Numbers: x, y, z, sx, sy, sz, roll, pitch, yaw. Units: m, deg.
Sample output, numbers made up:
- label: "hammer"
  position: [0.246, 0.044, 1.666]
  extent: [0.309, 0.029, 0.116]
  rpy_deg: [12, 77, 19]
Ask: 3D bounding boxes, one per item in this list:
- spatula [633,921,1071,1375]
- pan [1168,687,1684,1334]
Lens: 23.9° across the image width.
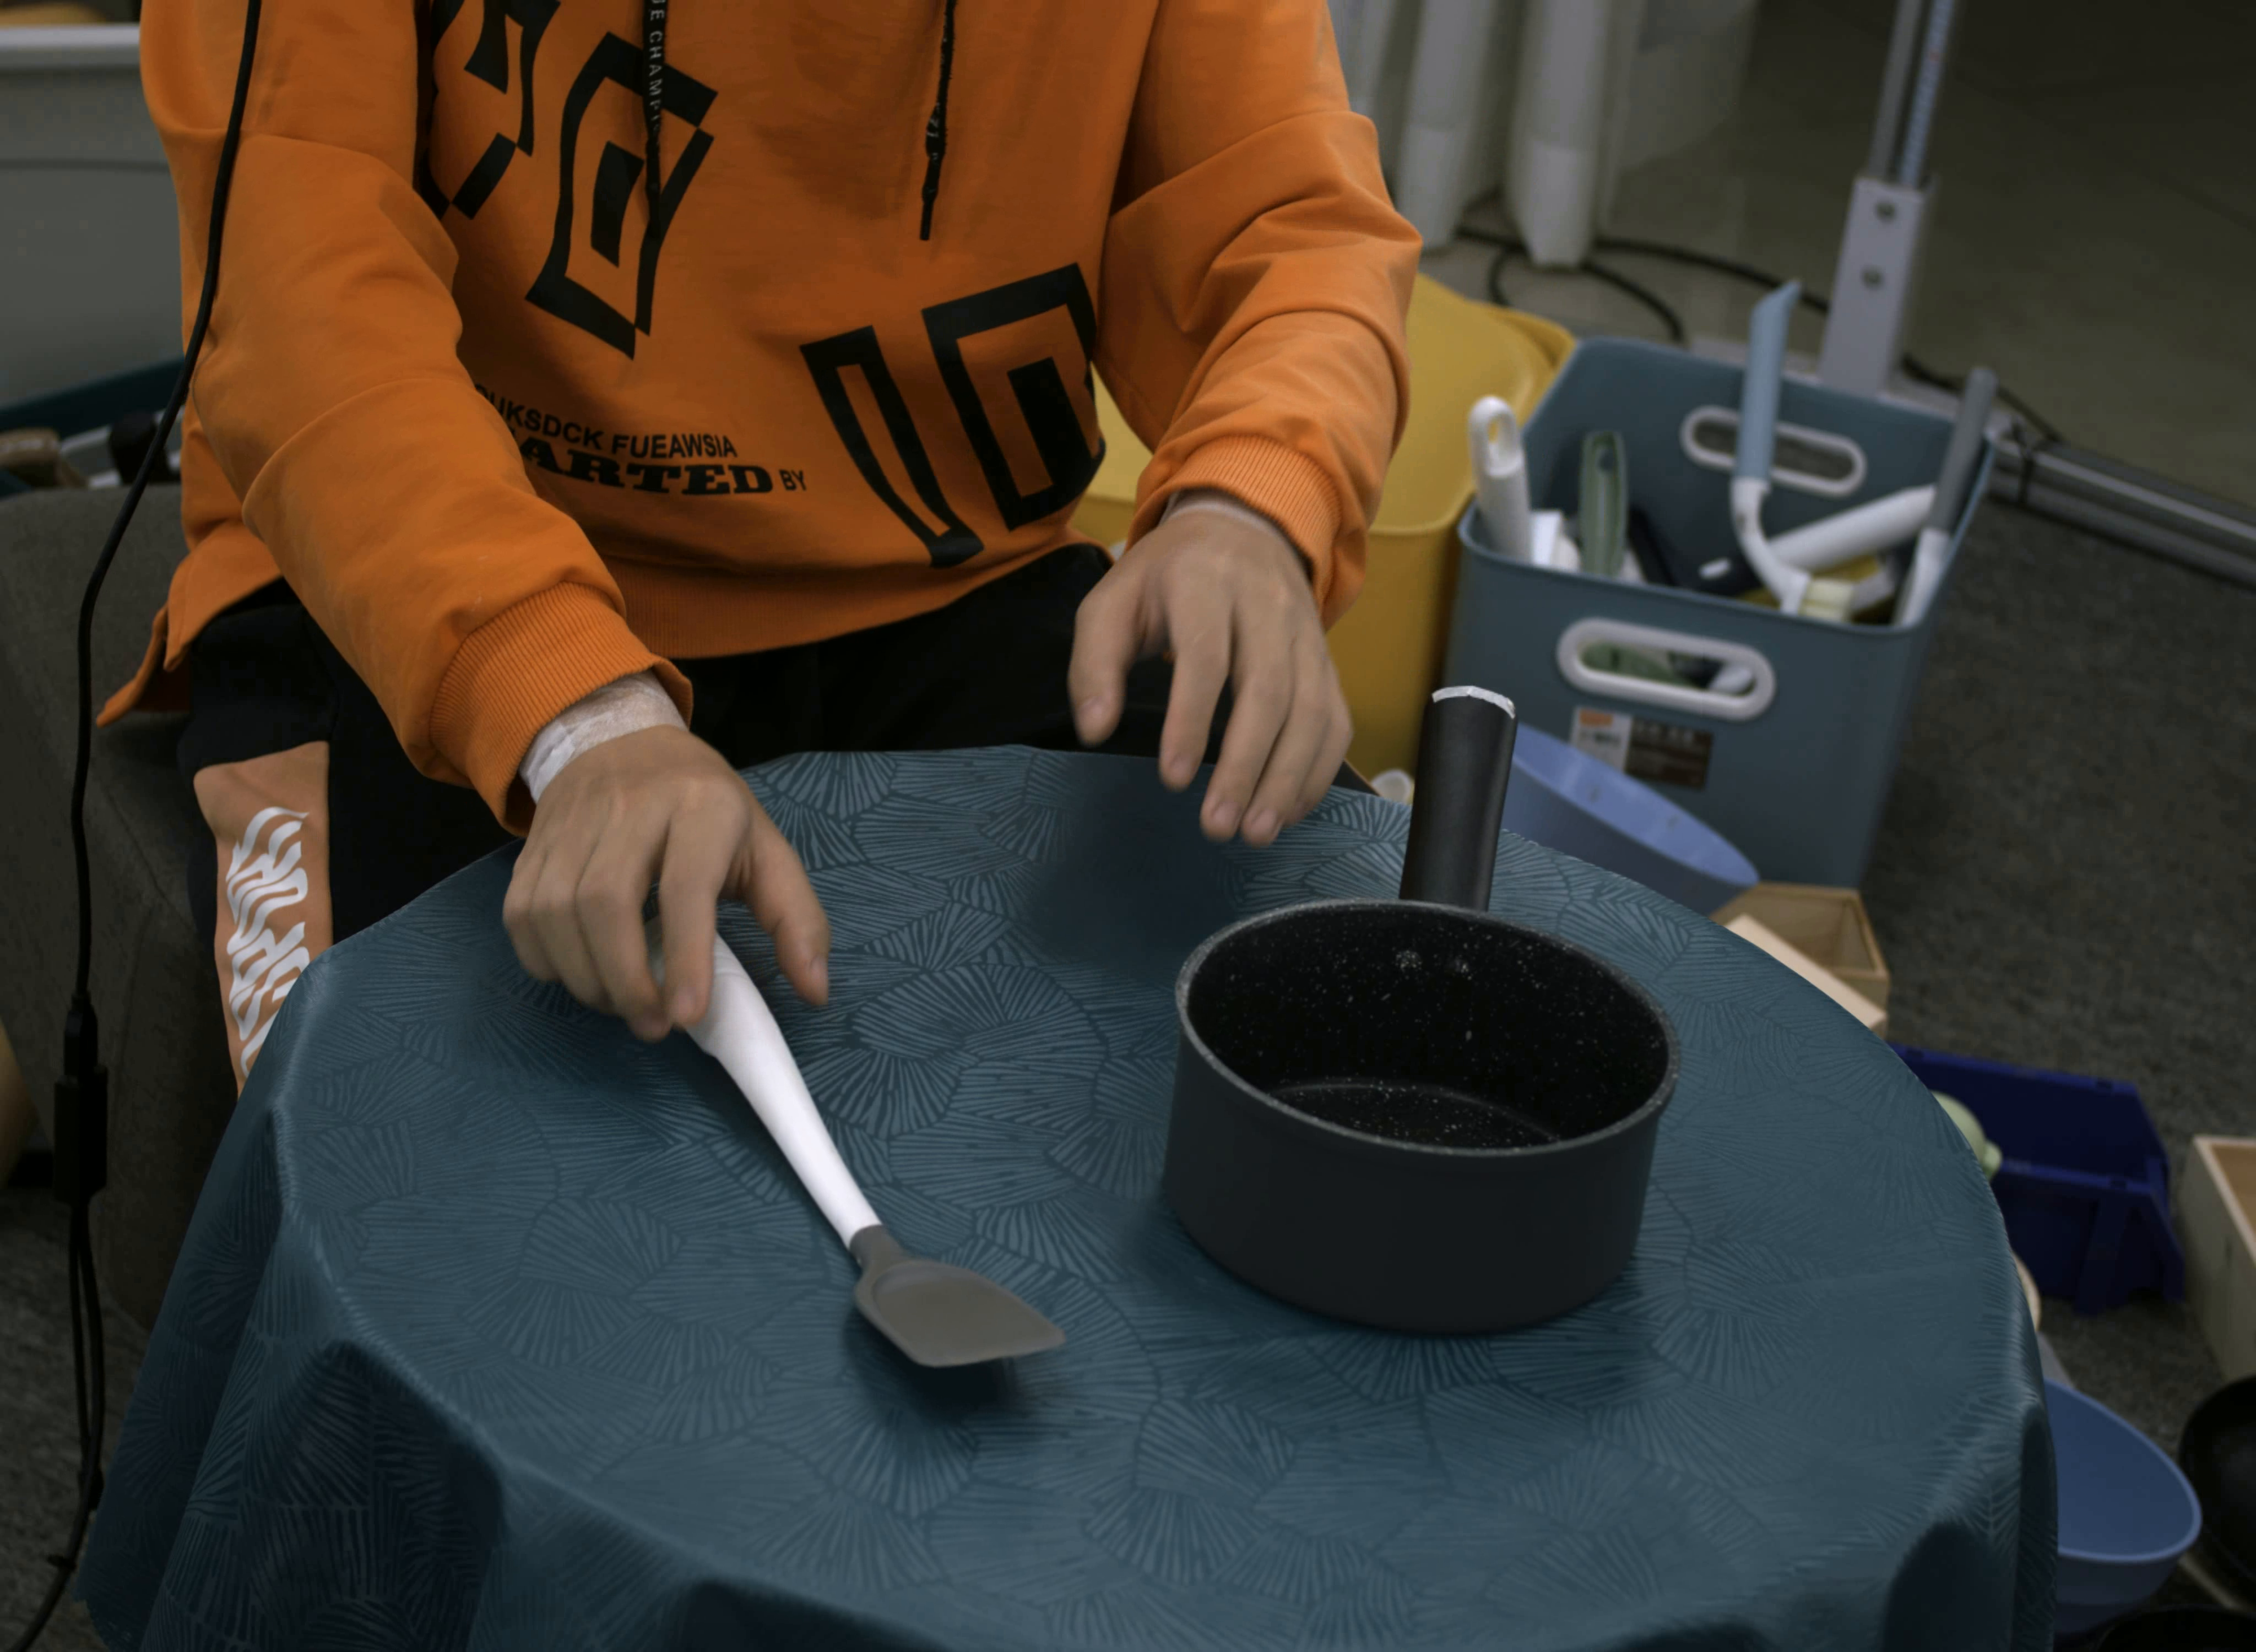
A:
- label: "spatula"
  position: [-0.100, 0.111, 1.770]
  extent: [0.058, 0.032, 0.290]
  rpy_deg: [-2, 27, -27]
- label: "pan"
  position: [0.109, 0.060, 1.860]
  extent: [0.172, 0.086, 0.330]
  rpy_deg: [10, 29, 5]
